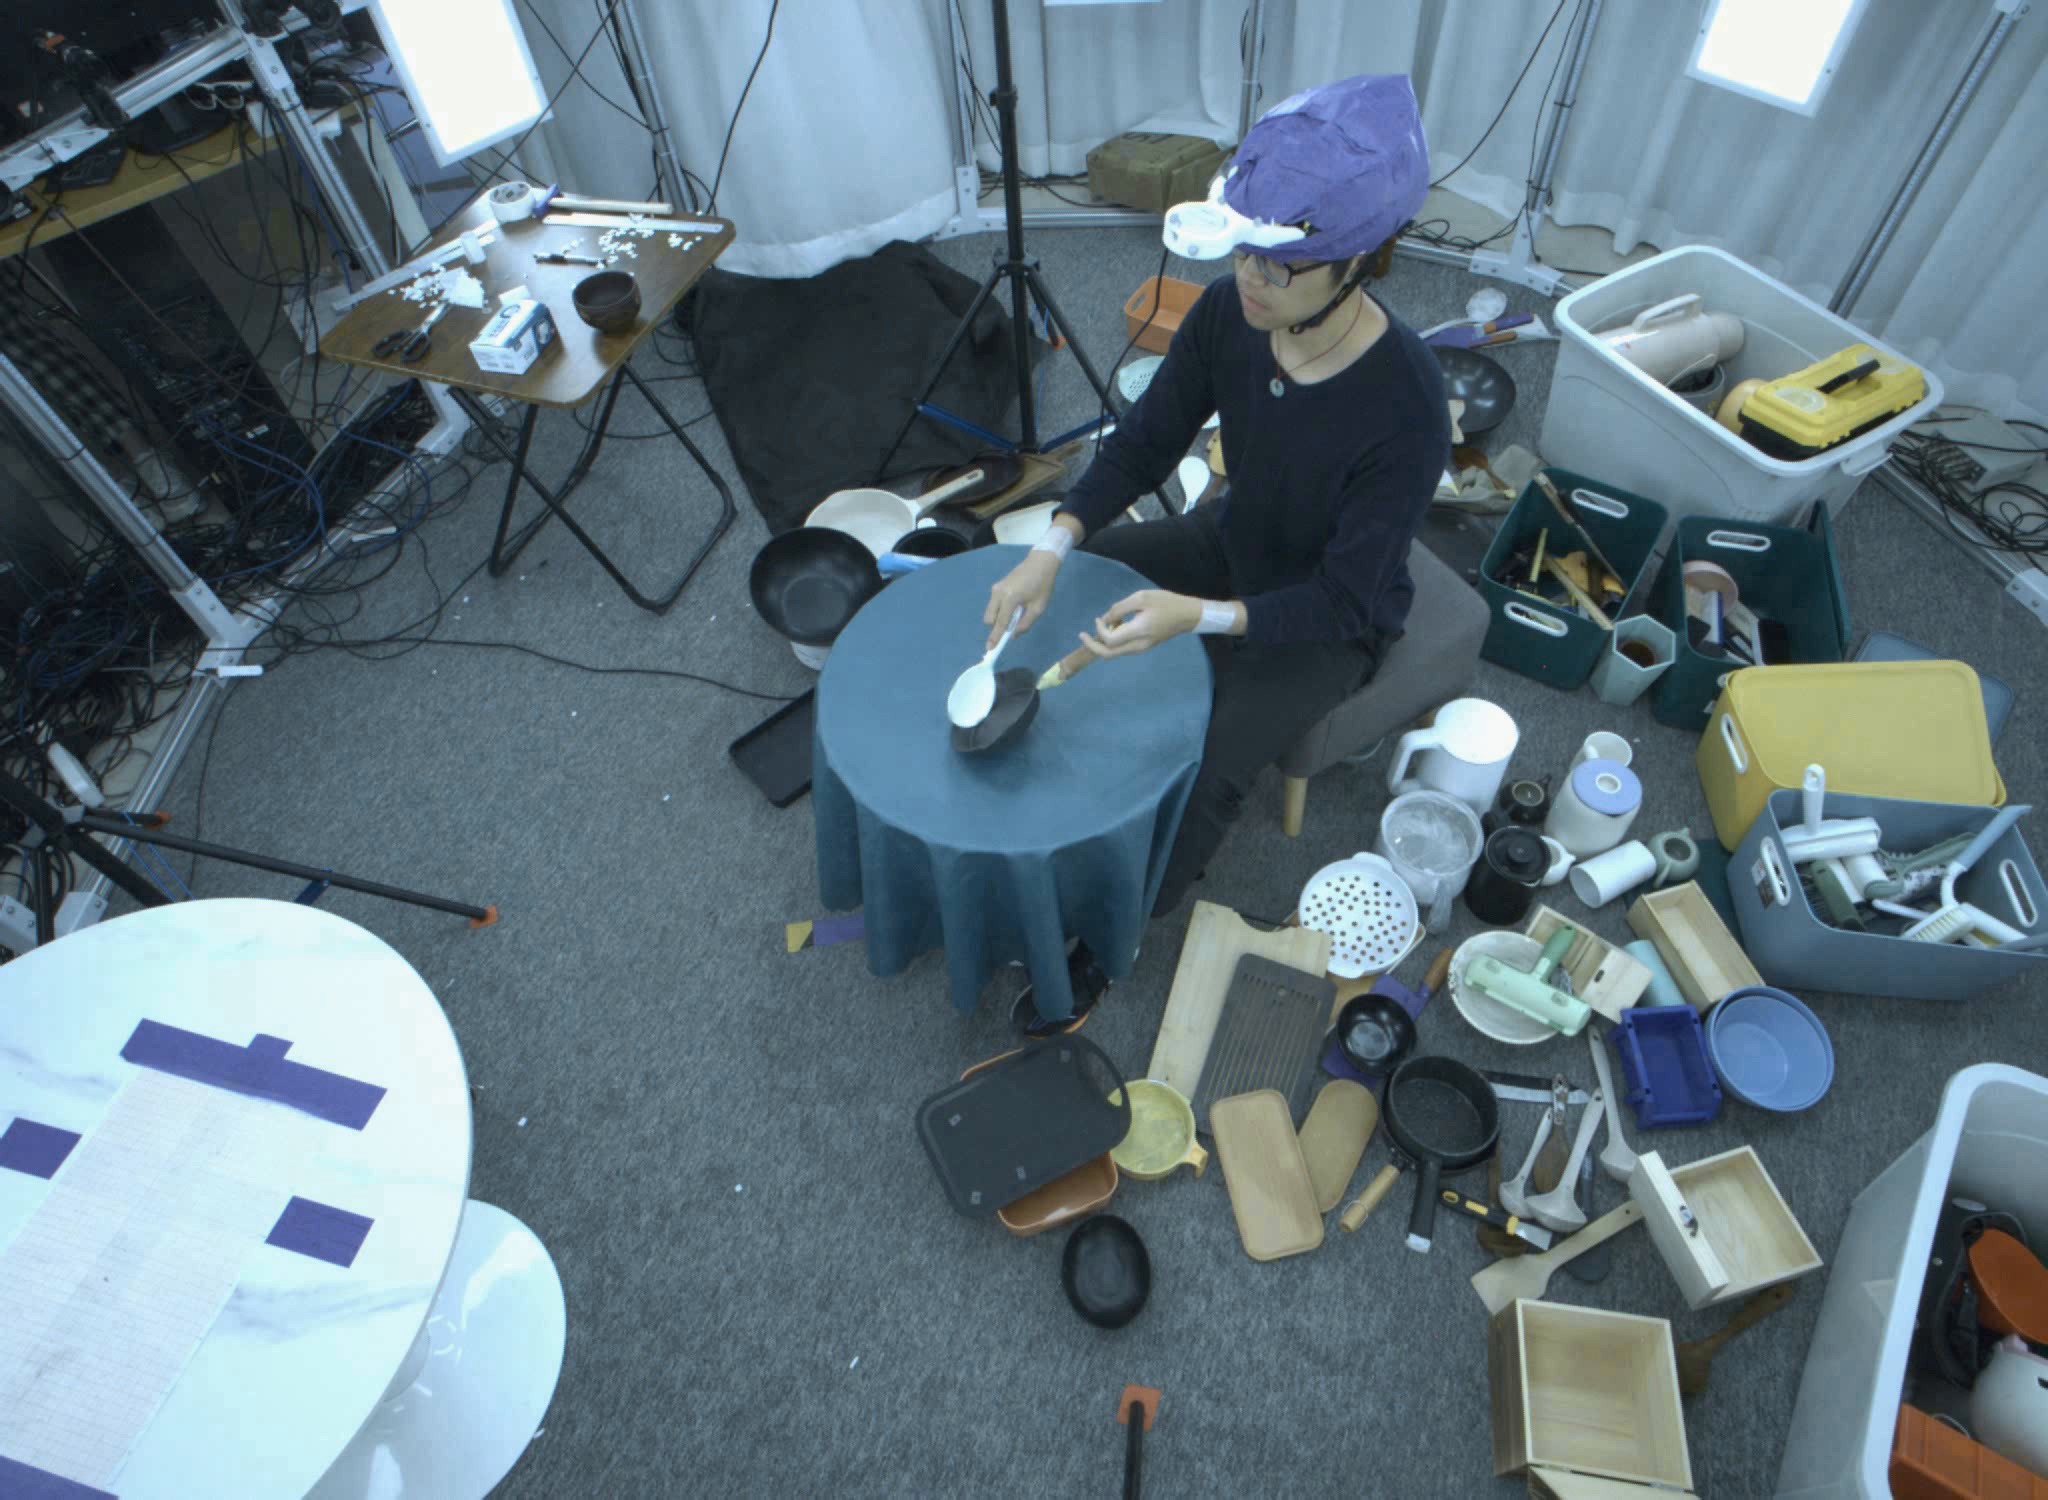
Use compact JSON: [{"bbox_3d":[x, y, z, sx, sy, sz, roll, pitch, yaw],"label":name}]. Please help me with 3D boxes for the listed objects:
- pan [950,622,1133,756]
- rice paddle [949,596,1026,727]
[{"bbox_3d":[0.025,-0.089,1.722,0.320,0.050,0.167,-28,33,27],"label":"pan"},{"bbox_3d":[-0.052,-0.128,1.803,0.029,0.070,0.205,16,82,61],"label":"rice paddle"}]
